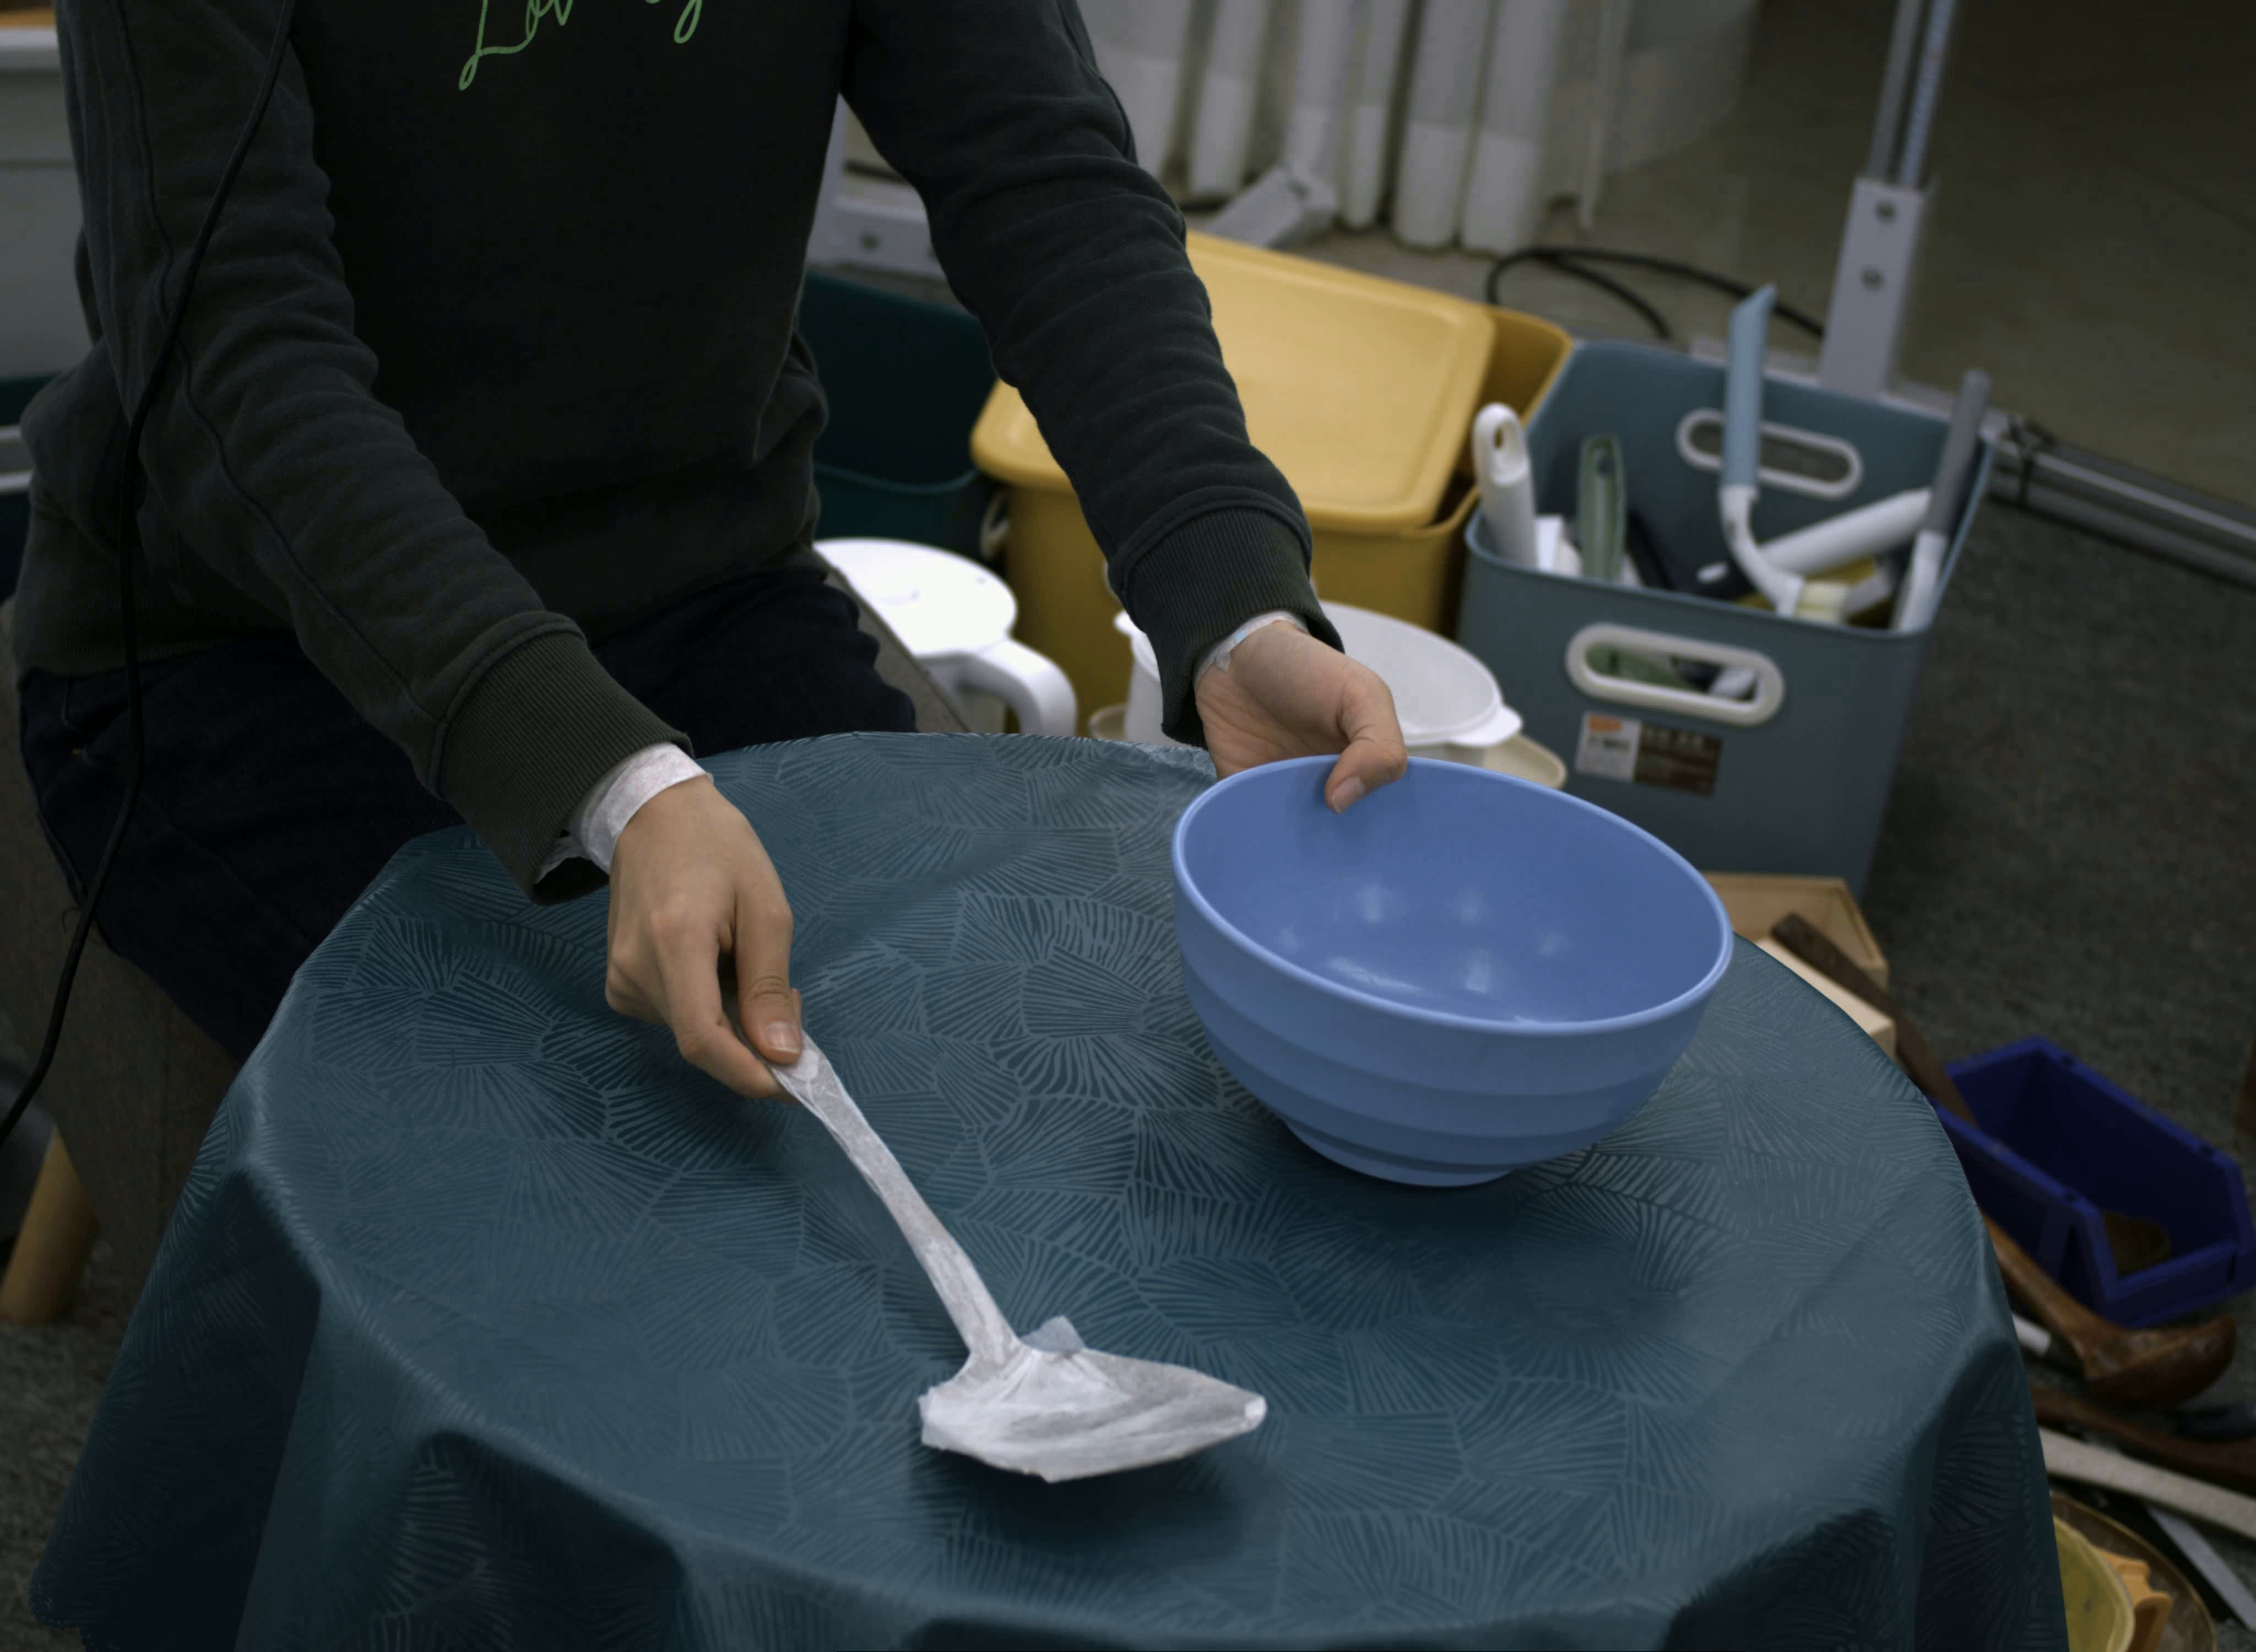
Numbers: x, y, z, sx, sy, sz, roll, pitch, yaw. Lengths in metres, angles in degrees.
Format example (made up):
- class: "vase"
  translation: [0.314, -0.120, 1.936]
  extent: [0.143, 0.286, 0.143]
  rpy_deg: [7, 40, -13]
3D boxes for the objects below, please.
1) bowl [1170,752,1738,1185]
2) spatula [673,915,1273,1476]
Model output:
- class: "bowl"
  translation: [0.105, 0.060, 1.837]
  extent: [0.196, 0.095, 0.198]
  rpy_deg: [7, 27, -4]
- class: "spatula"
  translation: [-0.075, 0.111, 1.742]
  extent: [0.098, 0.044, 0.368]
  rpy_deg: [-11, 37, -26]
